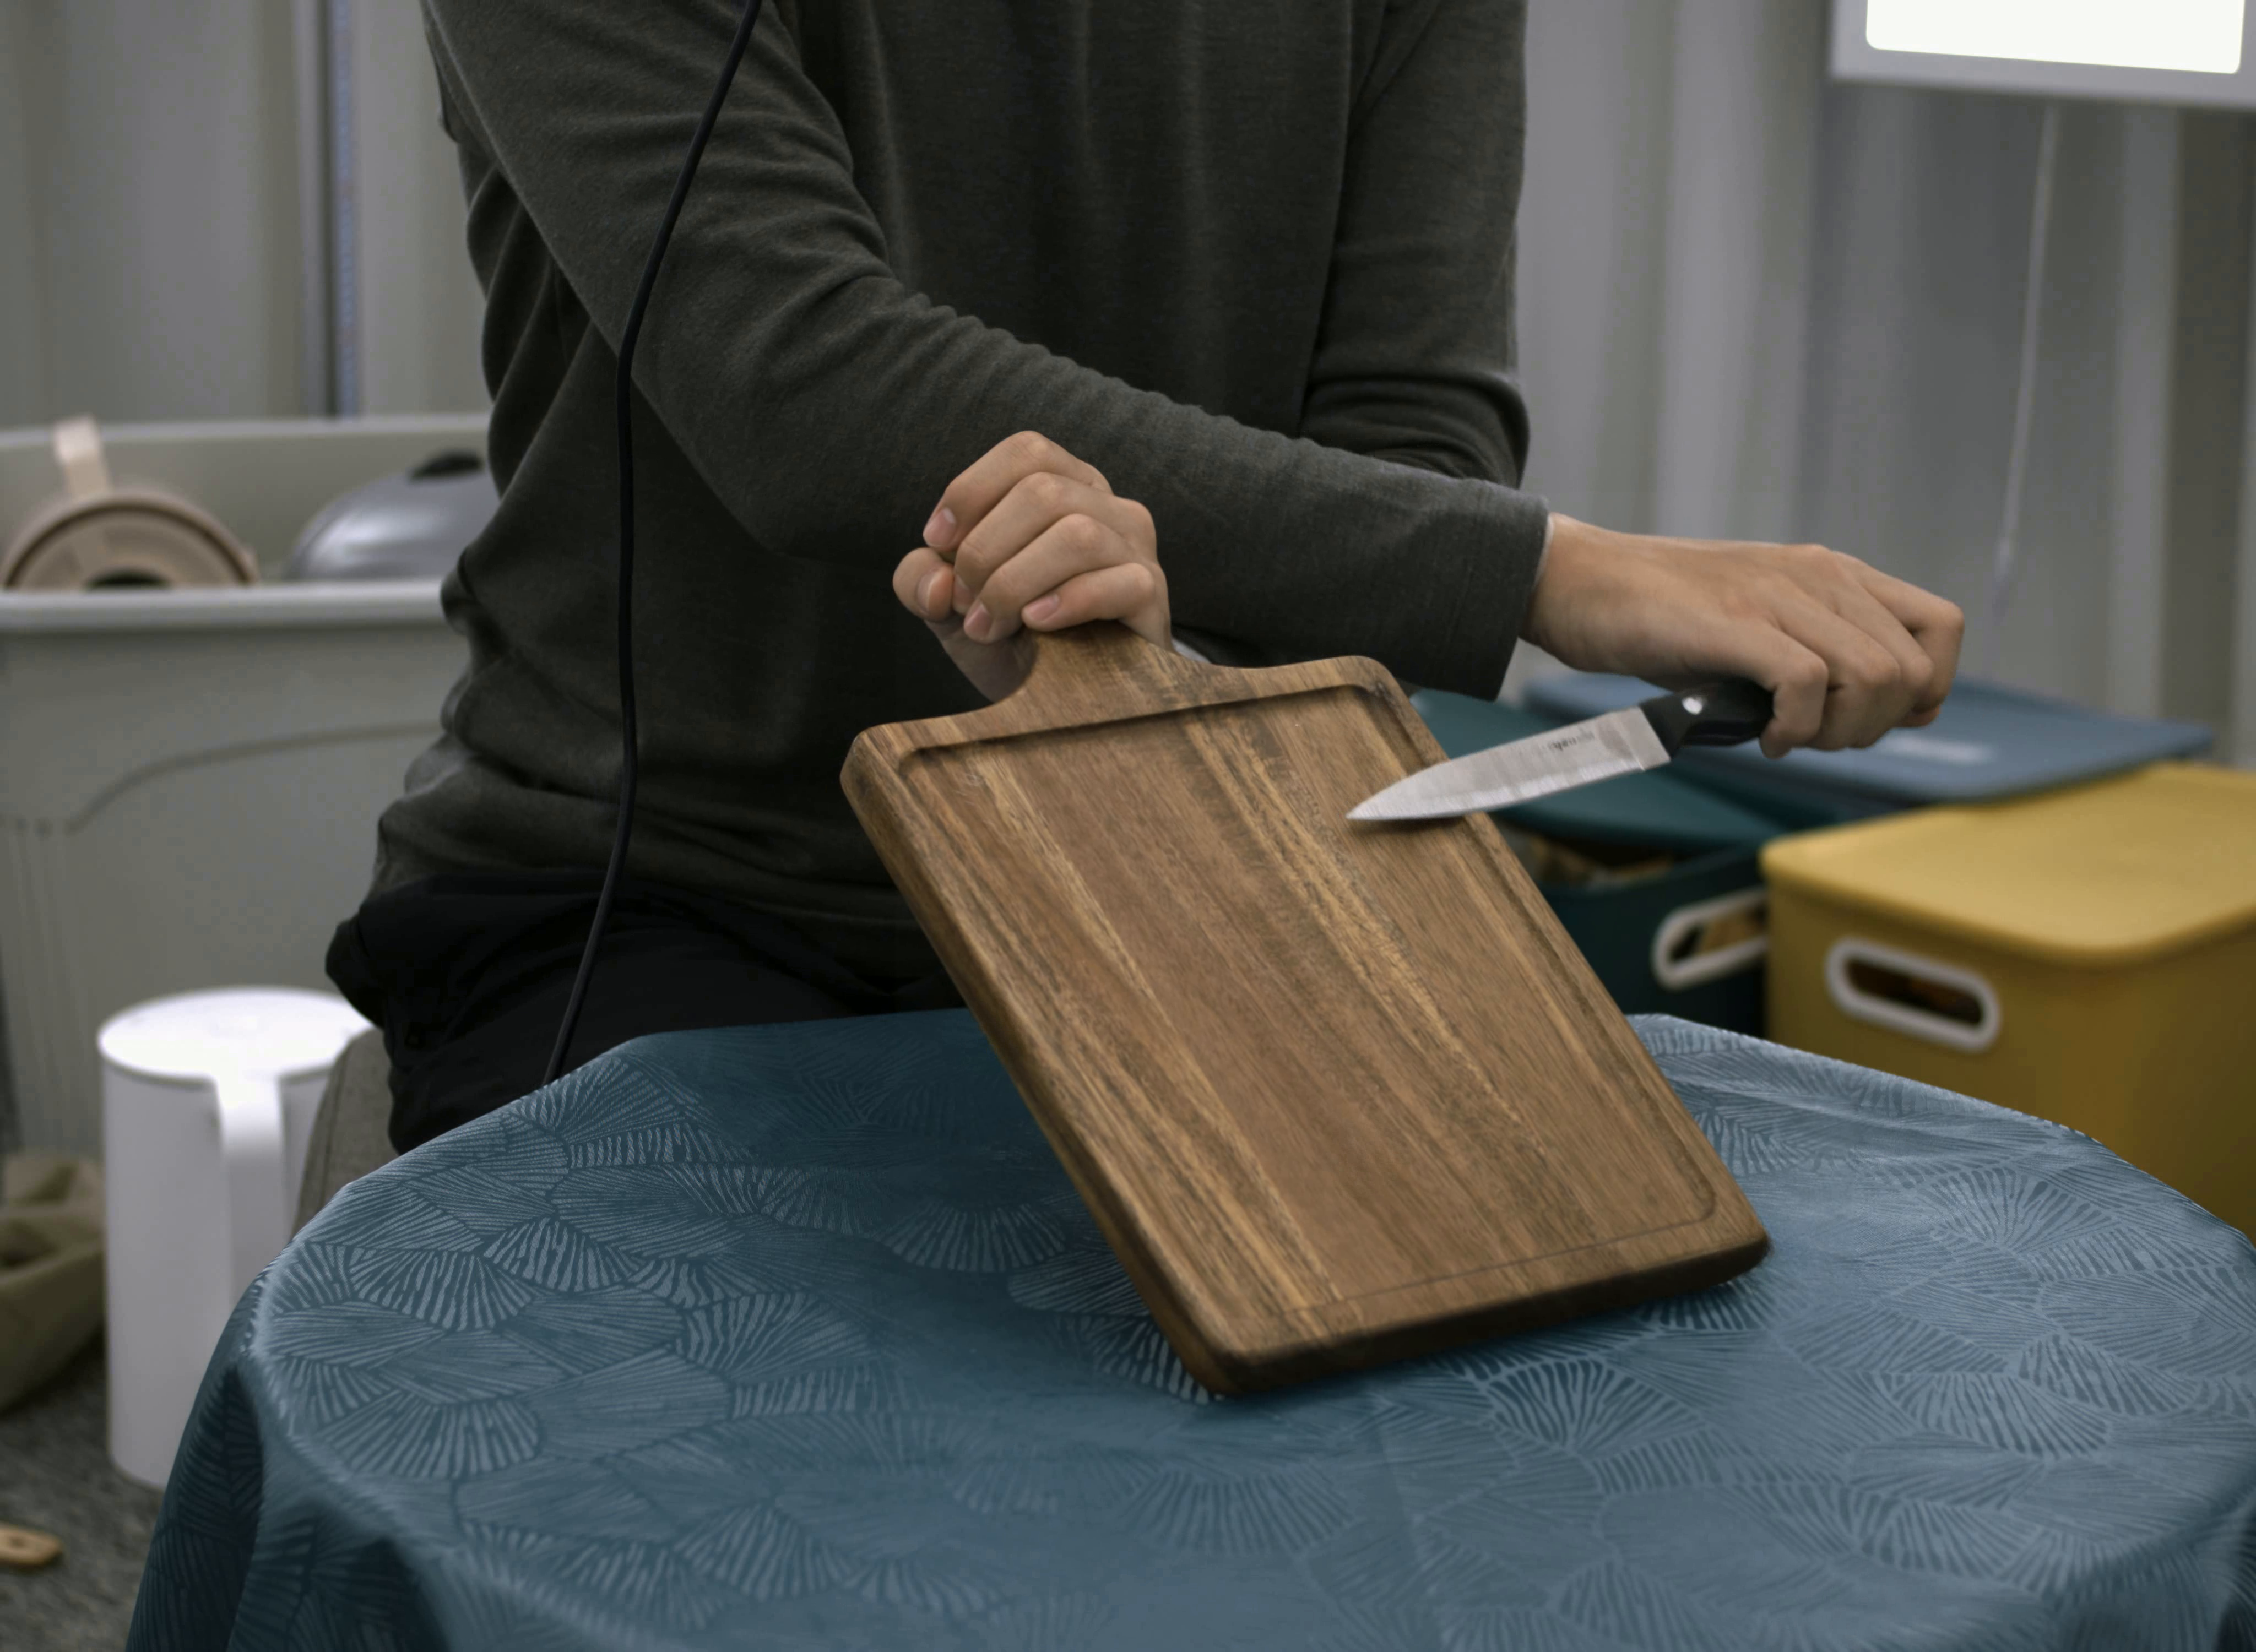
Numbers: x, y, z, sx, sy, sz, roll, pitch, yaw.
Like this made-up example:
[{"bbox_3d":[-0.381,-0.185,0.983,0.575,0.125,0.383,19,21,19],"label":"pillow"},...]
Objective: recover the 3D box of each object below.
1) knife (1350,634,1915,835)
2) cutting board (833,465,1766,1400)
[{"bbox_3d":[0.161,-0.029,1.677,0.239,0.016,0.024,-17,58,-34],"label":"knife"},{"bbox_3d":[0.028,0.016,1.589,0.202,0.023,0.348,-10,52,-32],"label":"cutting board"}]
